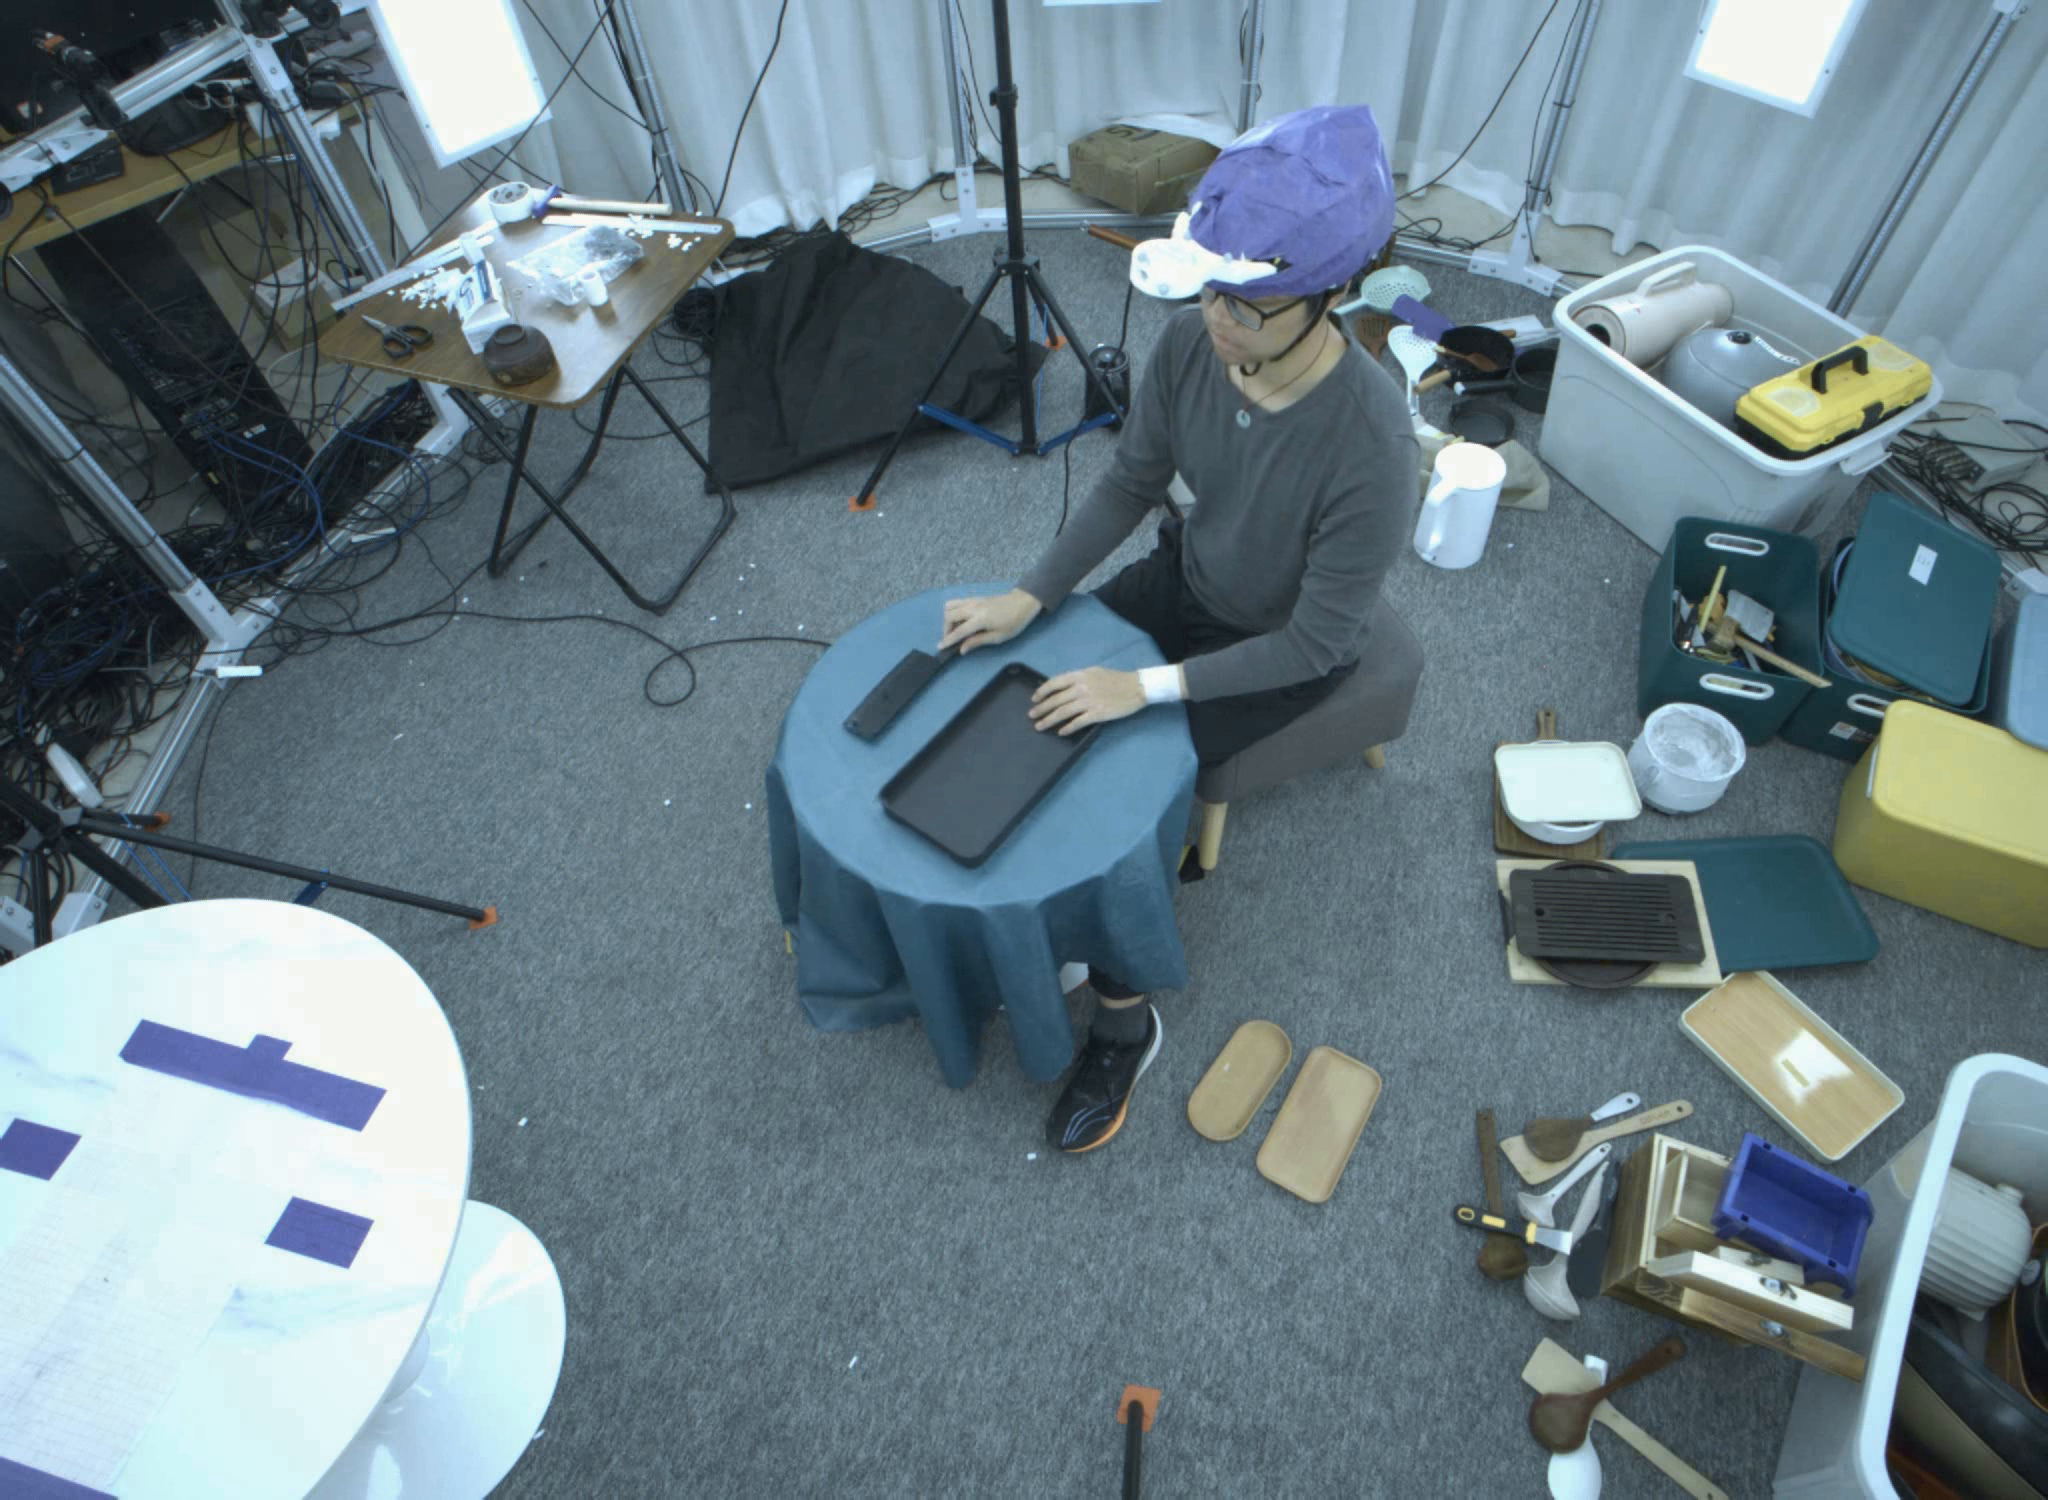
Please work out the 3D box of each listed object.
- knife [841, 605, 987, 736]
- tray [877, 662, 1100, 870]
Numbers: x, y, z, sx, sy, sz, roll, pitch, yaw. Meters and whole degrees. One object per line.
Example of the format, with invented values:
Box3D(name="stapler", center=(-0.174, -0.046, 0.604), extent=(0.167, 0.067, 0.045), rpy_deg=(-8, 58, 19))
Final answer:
Box3D(name="knife", center=(-0.162, -0.127, 1.876), extent=(0.079, 0.021, 0.304), rpy_deg=(29, 59, 30))
Box3D(name="tray", center=(-0.047, 0.016, 1.762), extent=(0.181, 0.037, 0.319), rpy_deg=(30, 60, 21))
